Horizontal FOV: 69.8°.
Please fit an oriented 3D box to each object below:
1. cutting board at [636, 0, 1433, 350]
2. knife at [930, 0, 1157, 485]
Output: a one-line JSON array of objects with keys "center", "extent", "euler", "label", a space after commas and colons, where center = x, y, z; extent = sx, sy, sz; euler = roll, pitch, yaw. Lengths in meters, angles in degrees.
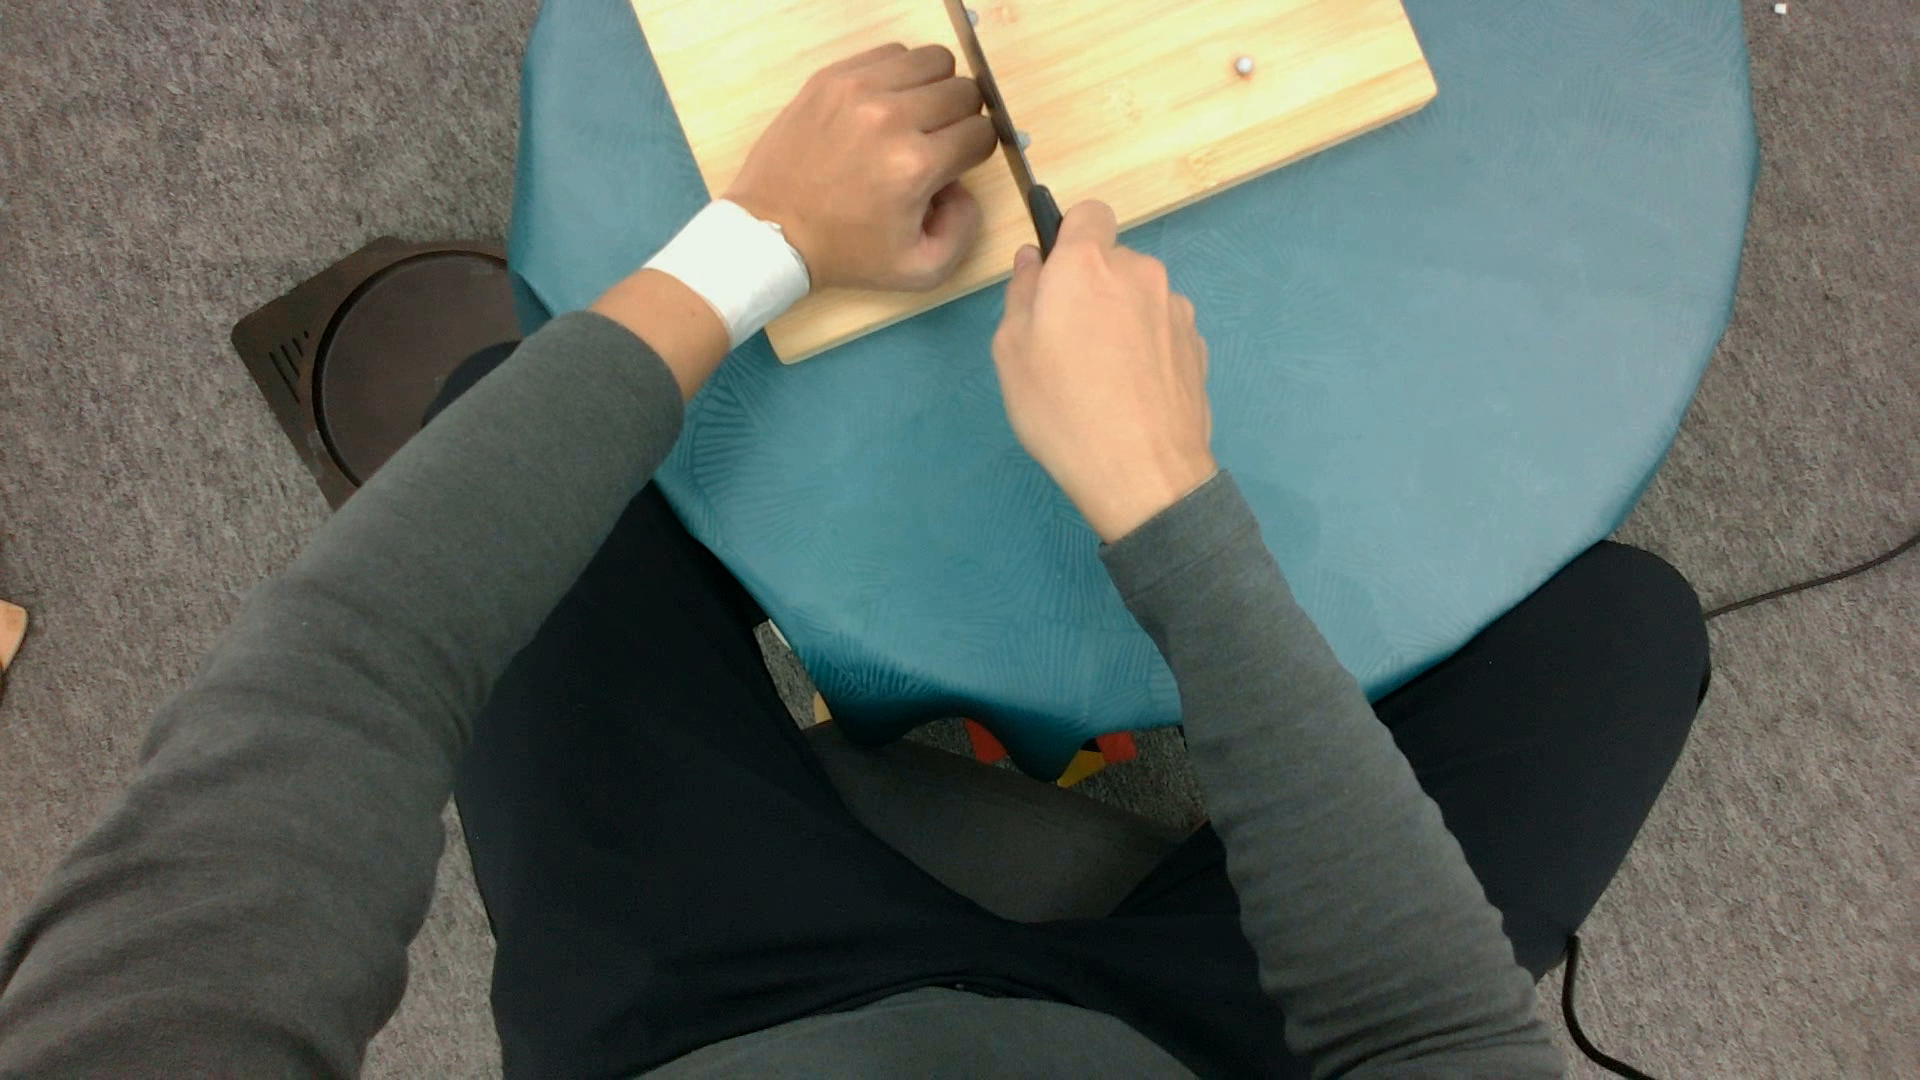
[{"center": [0.023, -0.265, 0.668], "extent": [0.349, 0.023, 0.251], "euler": [-23, 88, -3], "label": "cutting board"}, {"center": [0.017, -0.164, 0.580], "extent": [0.021, 0.081, 0.302], "euler": [-22, 83, 3], "label": "knife"}]
